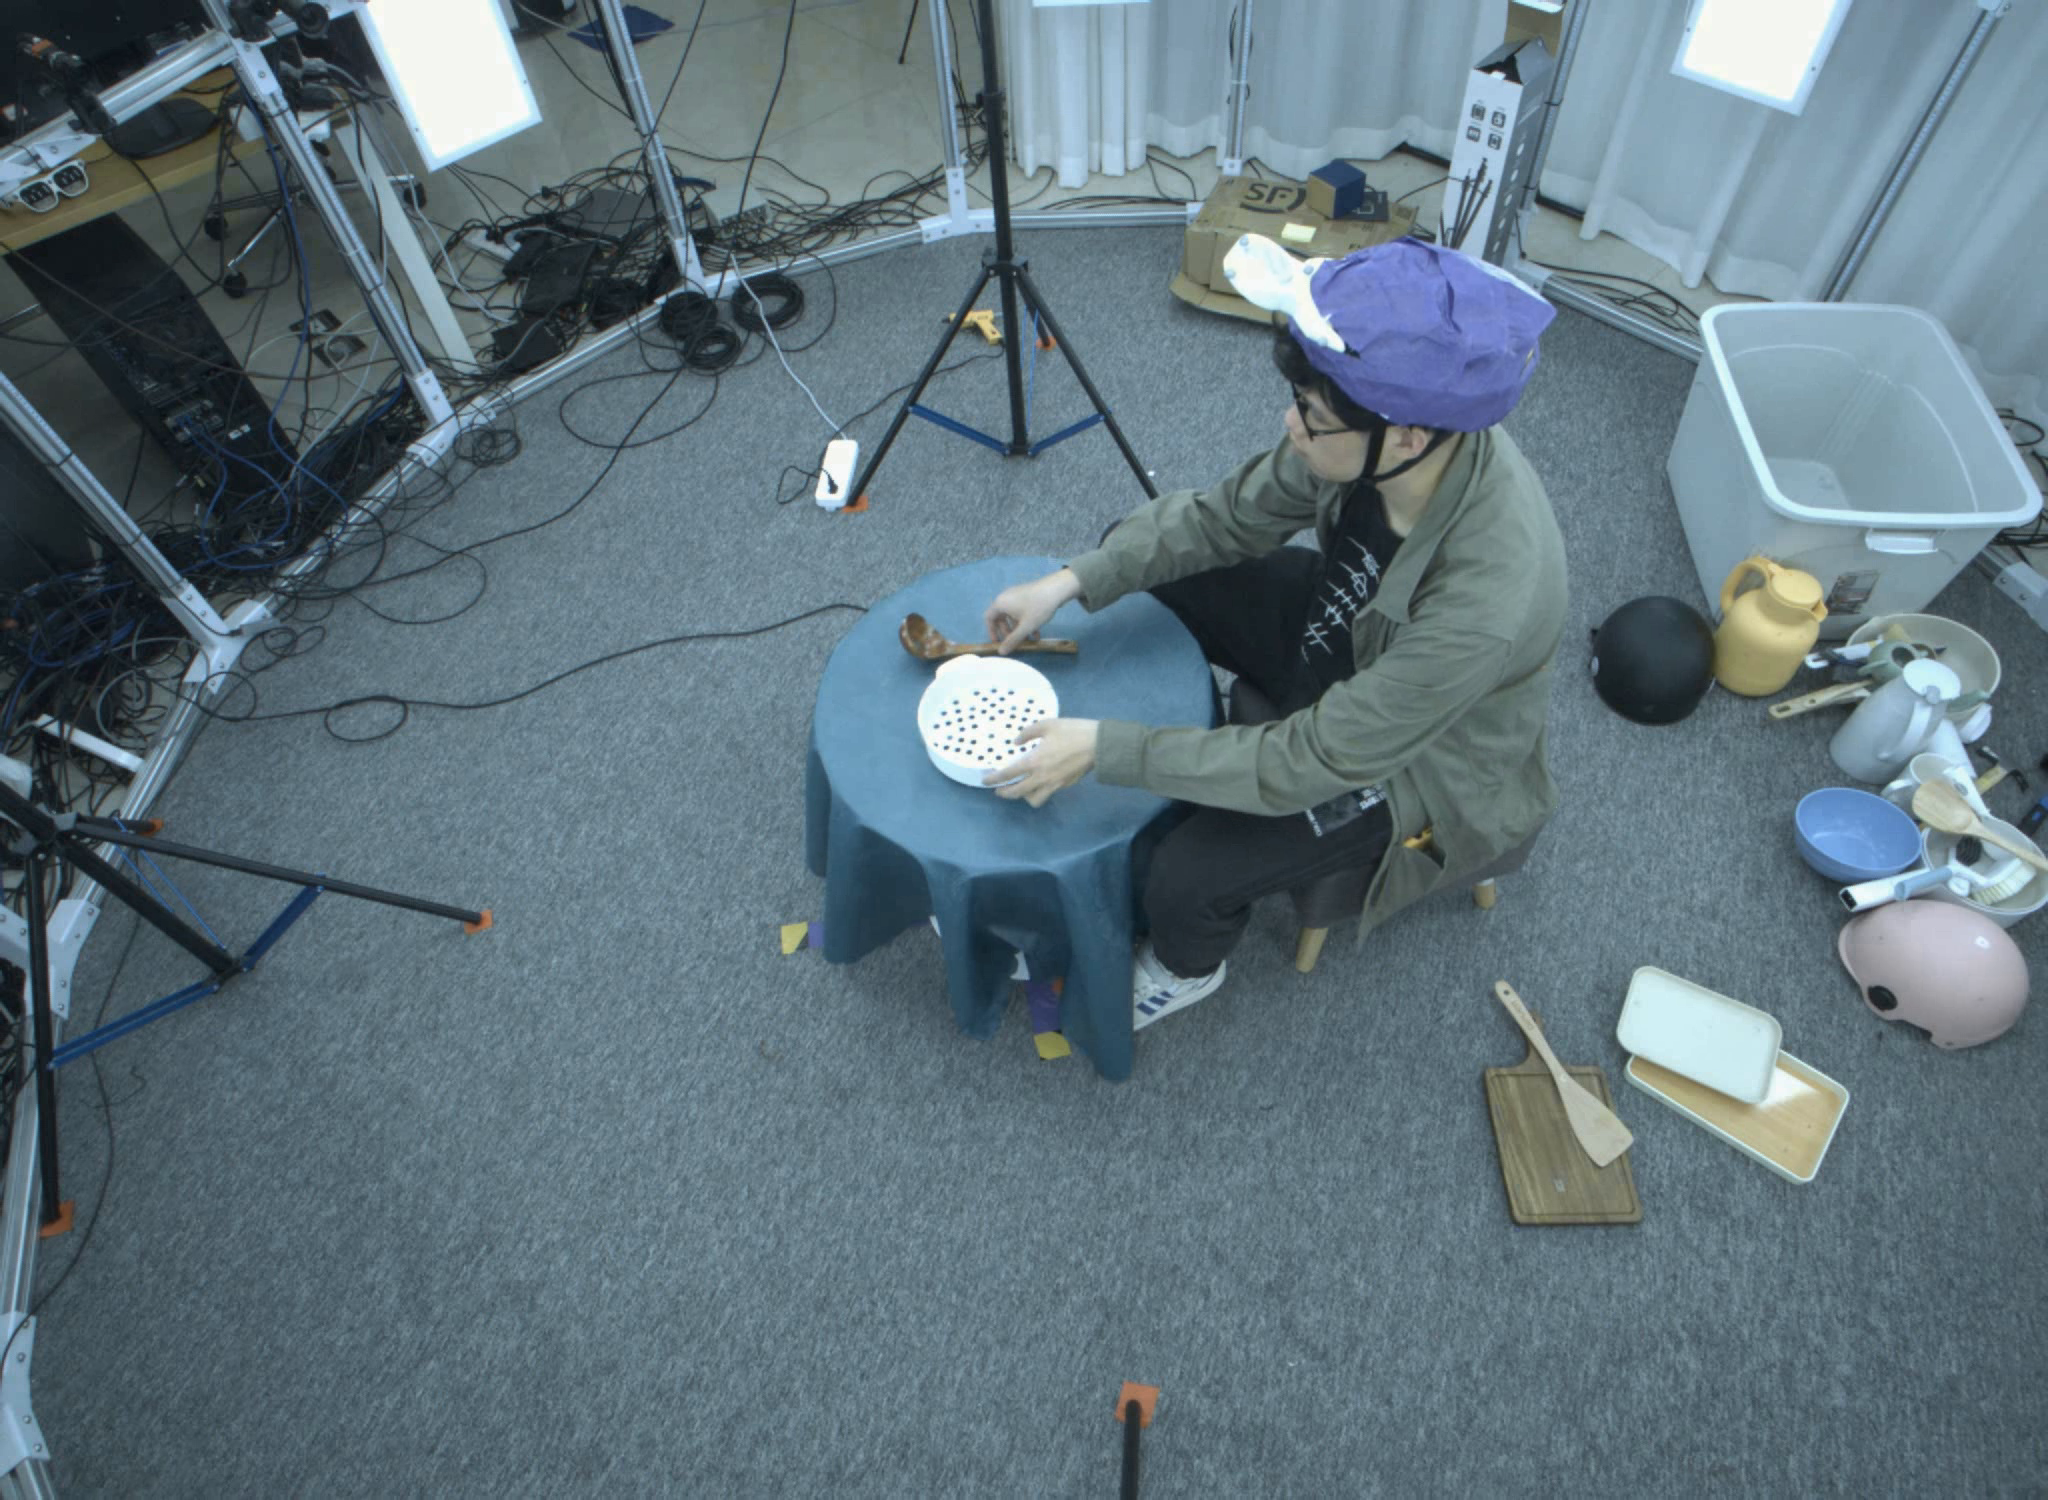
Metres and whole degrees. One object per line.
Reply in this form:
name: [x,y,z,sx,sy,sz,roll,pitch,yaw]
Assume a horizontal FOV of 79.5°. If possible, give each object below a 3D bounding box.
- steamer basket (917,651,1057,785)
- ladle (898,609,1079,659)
steamer basket: [-0.052,-0.042,1.782,0.203,0.070,0.226,-25,59,-15]
ladle: [-0.054,-0.177,1.873,0.274,0.077,0.081,-1,52,0]
